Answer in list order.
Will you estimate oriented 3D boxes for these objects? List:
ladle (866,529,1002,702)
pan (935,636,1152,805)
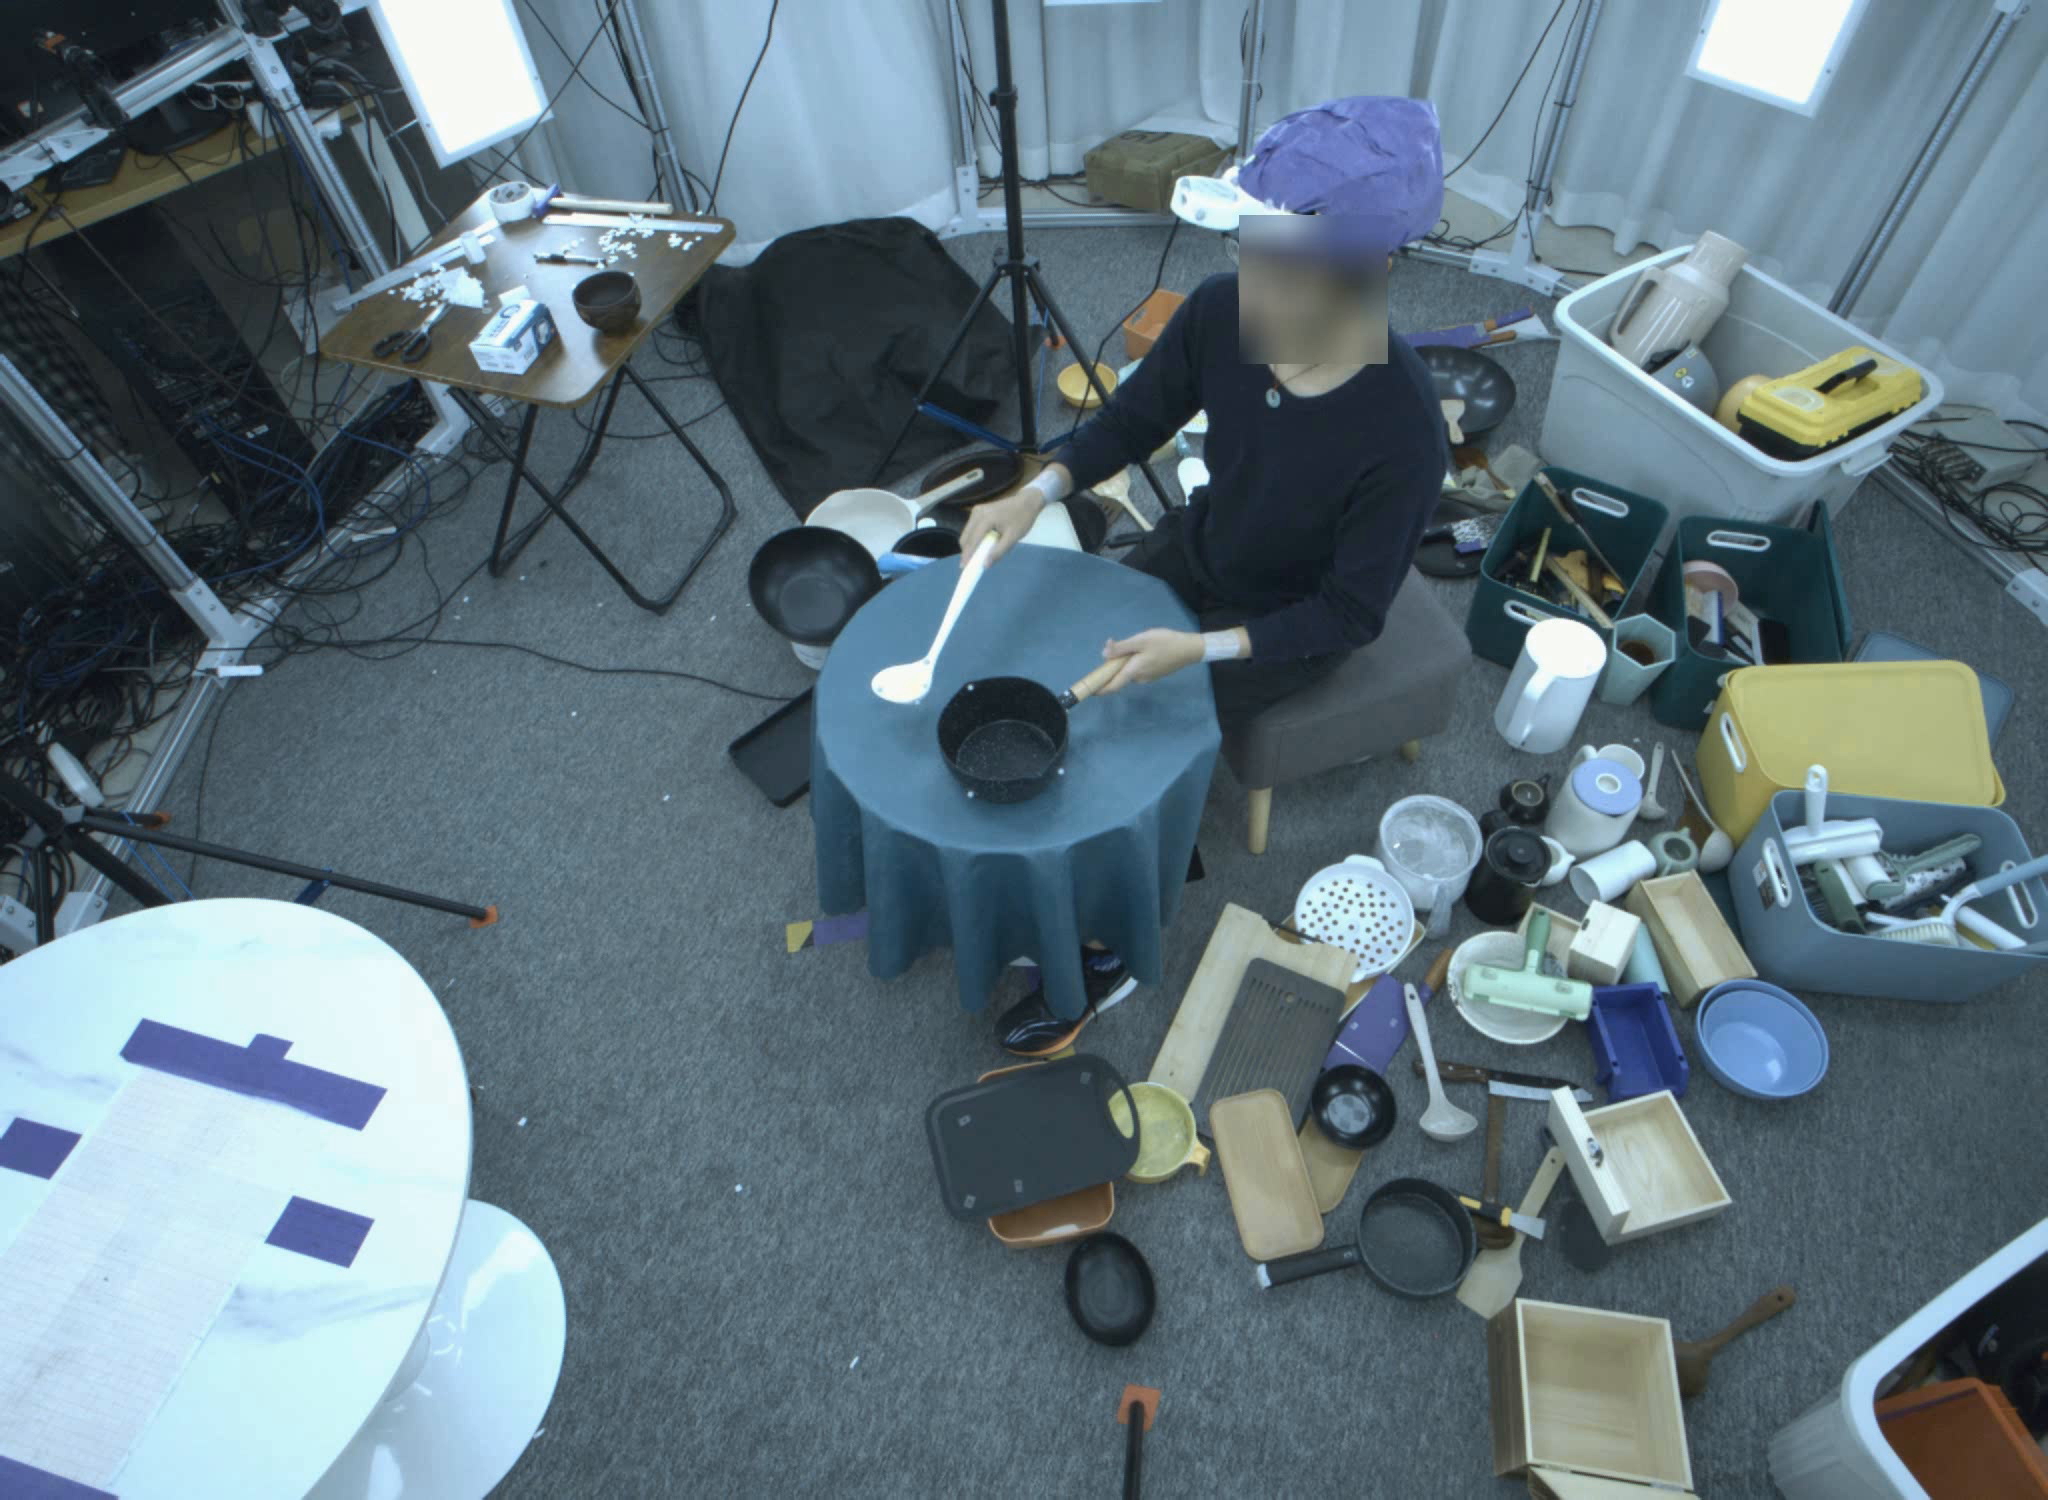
[{"bbox_3d":[-0.127,-0.196,1.771,0.088,0.071,0.293,27,88,42],"label":"ladle"},{"bbox_3d":[0.038,-0.052,1.756,0.345,0.109,0.203,-30,58,-16],"label":"pan"}]
